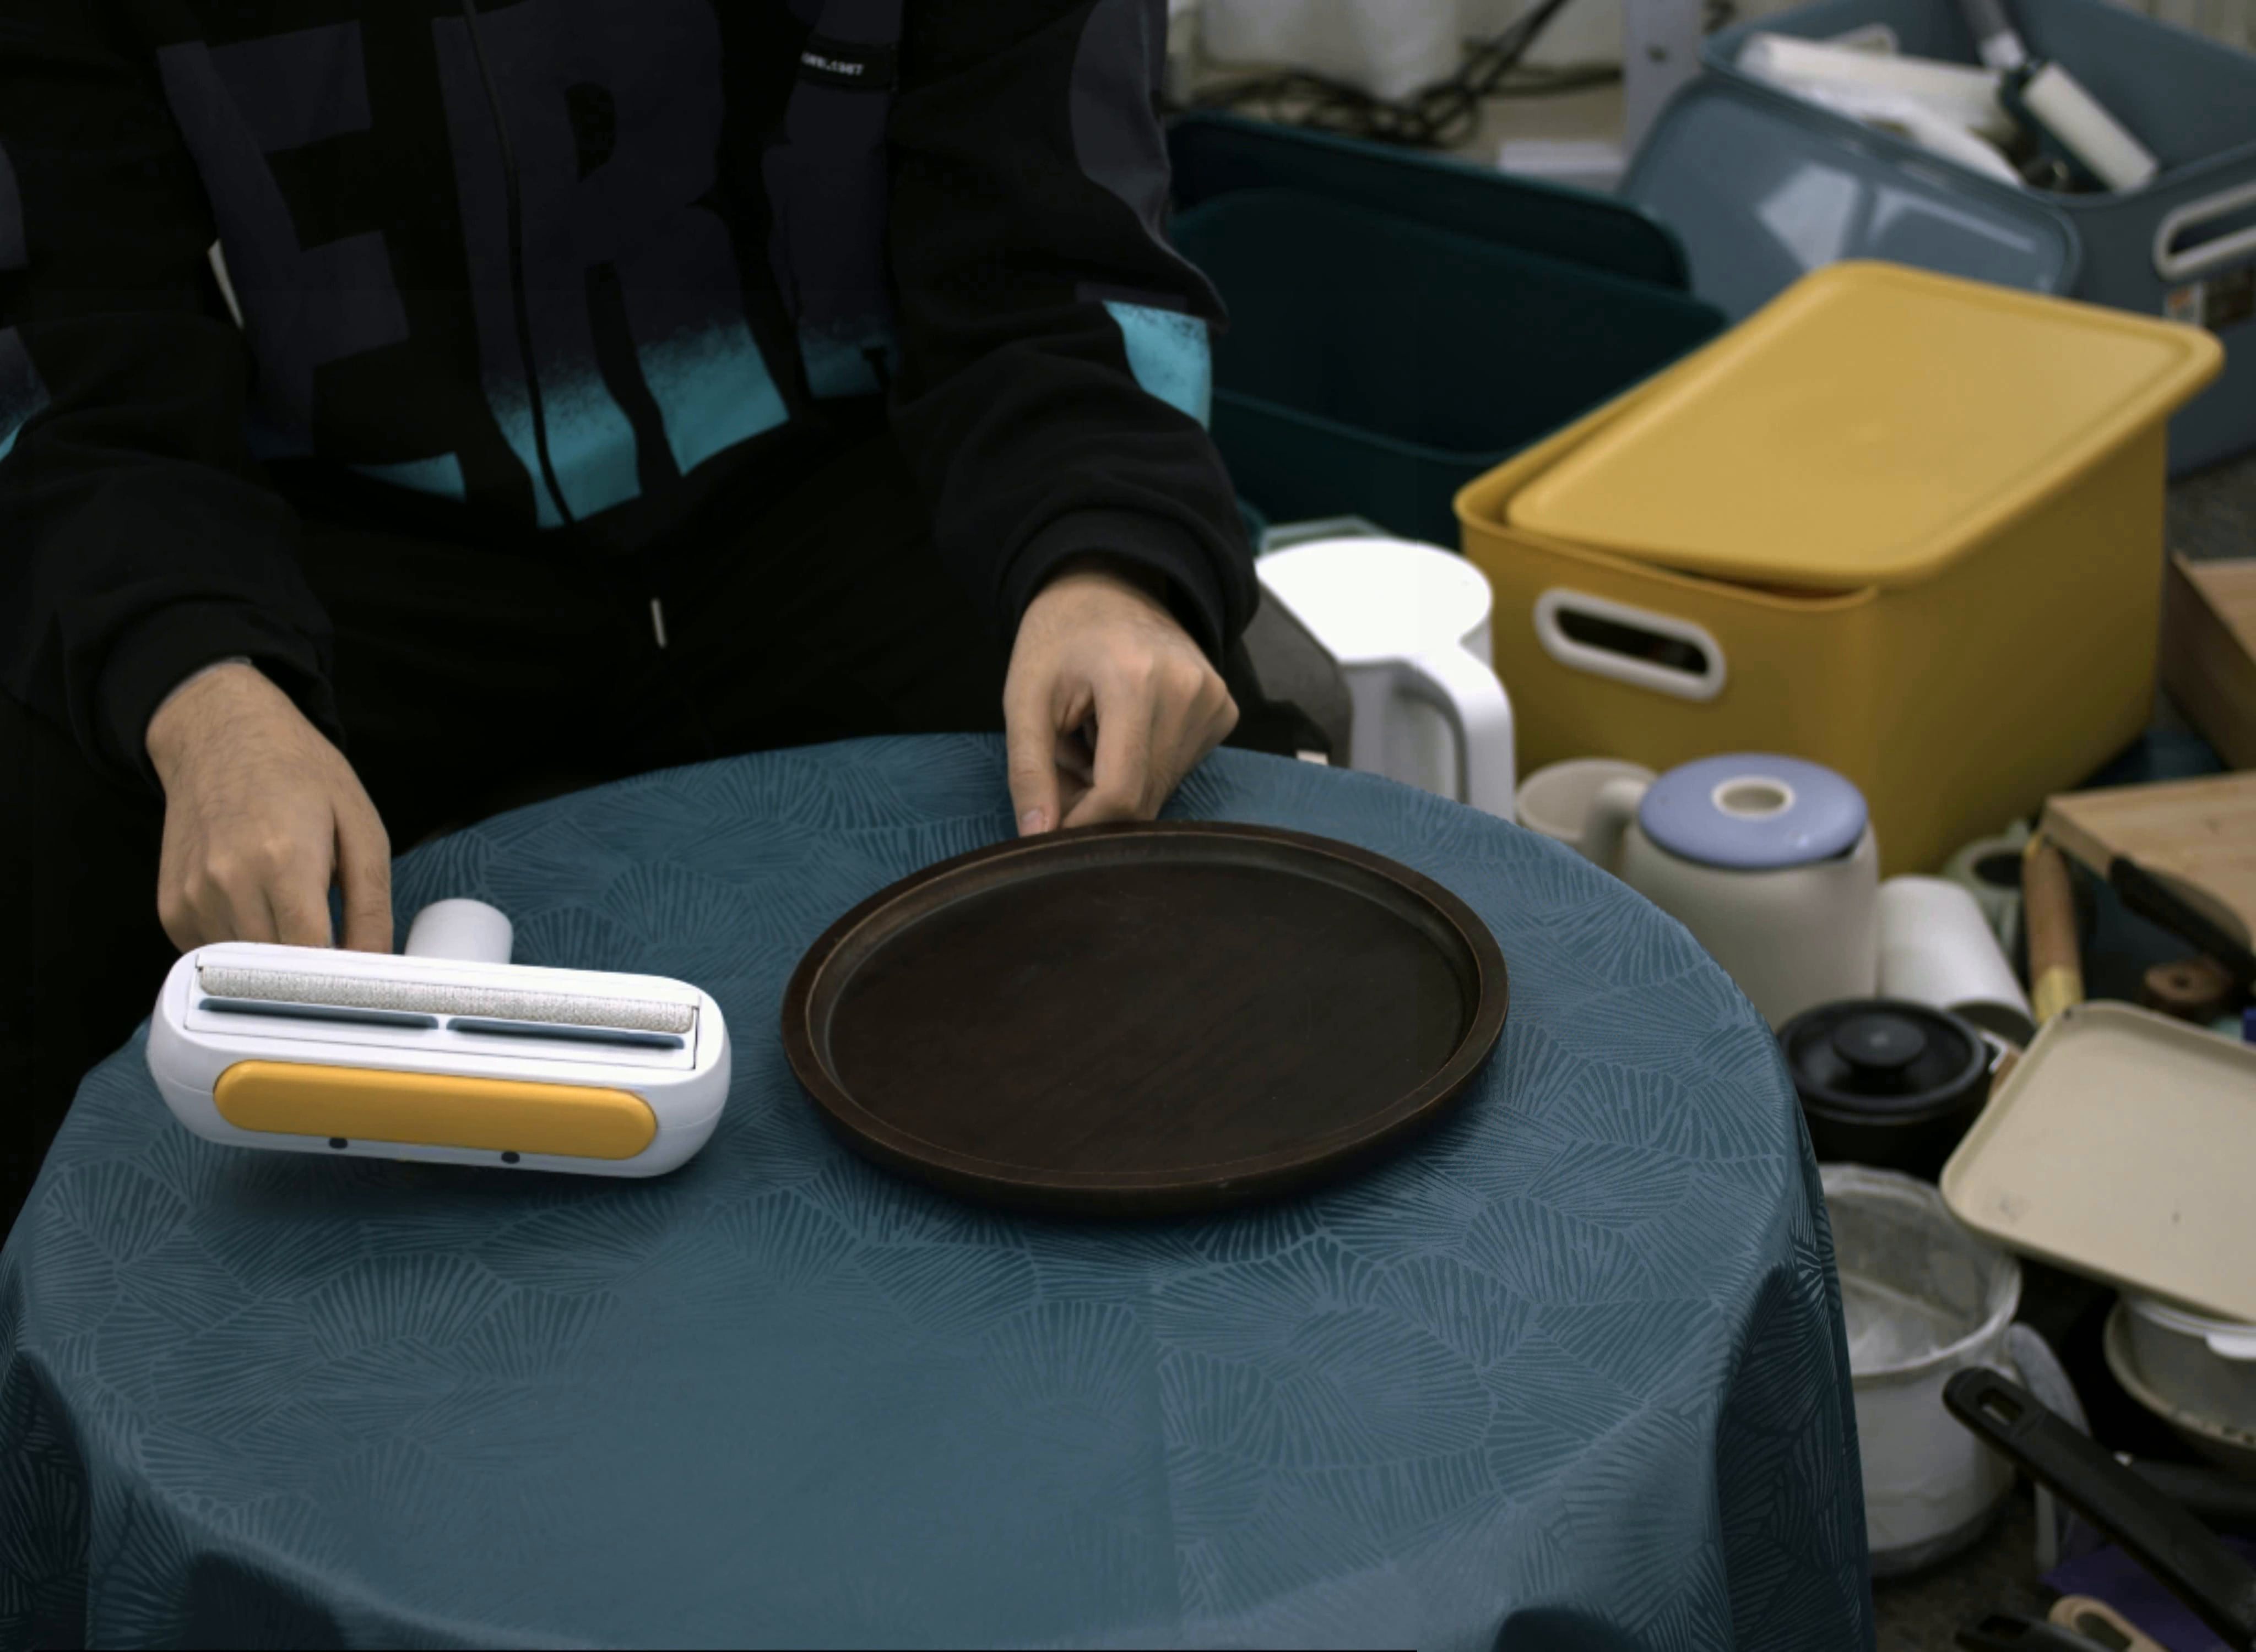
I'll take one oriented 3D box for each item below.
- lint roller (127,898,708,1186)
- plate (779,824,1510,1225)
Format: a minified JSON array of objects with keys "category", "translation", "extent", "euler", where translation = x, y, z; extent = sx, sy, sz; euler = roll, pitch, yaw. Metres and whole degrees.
[{"category":"lint roller","translation":[-0.236,0.060,1.931],"extent":[0.192,0.073,0.195],"euler":[3,26,0]},{"category":"plate","translation":[0.006,0.067,1.940],"extent":[0.253,0.029,0.258],"euler":[-2,26,1]}]
